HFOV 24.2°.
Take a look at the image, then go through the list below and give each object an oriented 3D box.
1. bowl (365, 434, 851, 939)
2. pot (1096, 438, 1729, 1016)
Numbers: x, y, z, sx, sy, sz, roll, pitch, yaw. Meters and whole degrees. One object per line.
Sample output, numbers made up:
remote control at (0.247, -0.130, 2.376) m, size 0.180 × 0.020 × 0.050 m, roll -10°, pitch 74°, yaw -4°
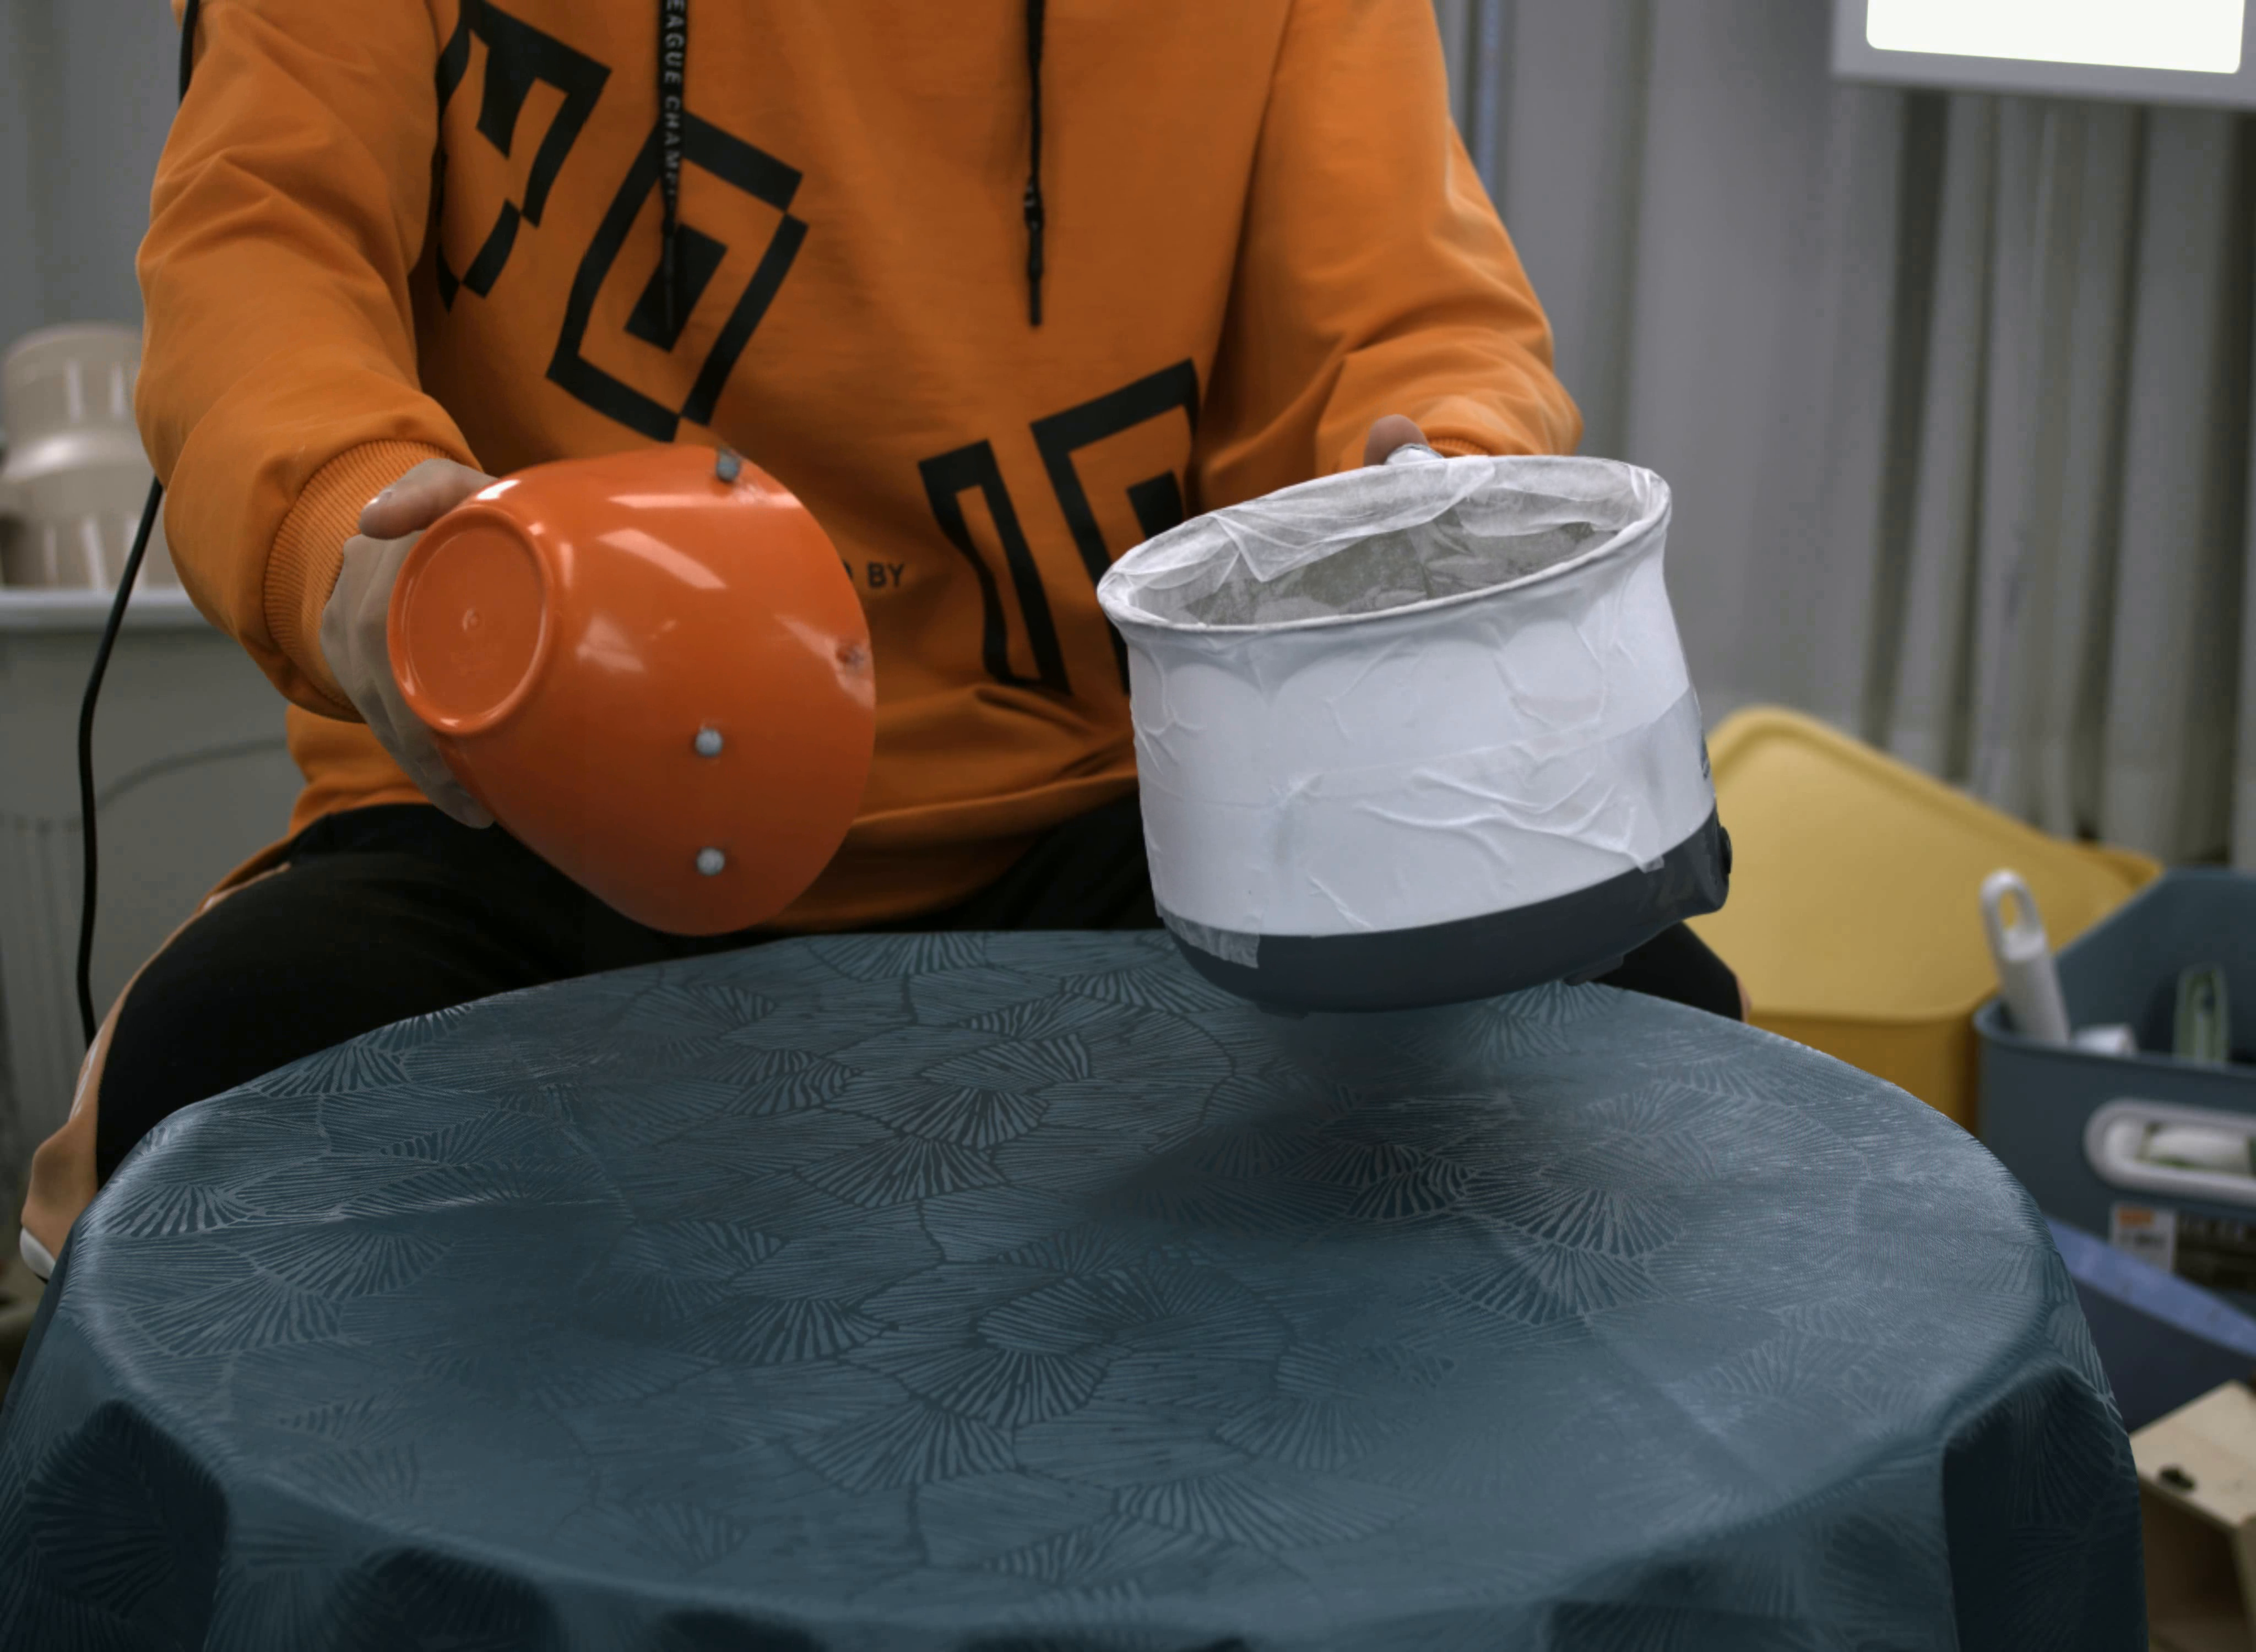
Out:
bowl at (-0.164, -0.049, 1.535) m, size 0.146 × 0.148 × 0.106 m, roll 13°, pitch -4°, yaw 36°
pot at (0.091, -0.037, 1.638) m, size 0.178 × 0.138 × 0.233 m, roll -7°, pitch 17°, yaw 9°
